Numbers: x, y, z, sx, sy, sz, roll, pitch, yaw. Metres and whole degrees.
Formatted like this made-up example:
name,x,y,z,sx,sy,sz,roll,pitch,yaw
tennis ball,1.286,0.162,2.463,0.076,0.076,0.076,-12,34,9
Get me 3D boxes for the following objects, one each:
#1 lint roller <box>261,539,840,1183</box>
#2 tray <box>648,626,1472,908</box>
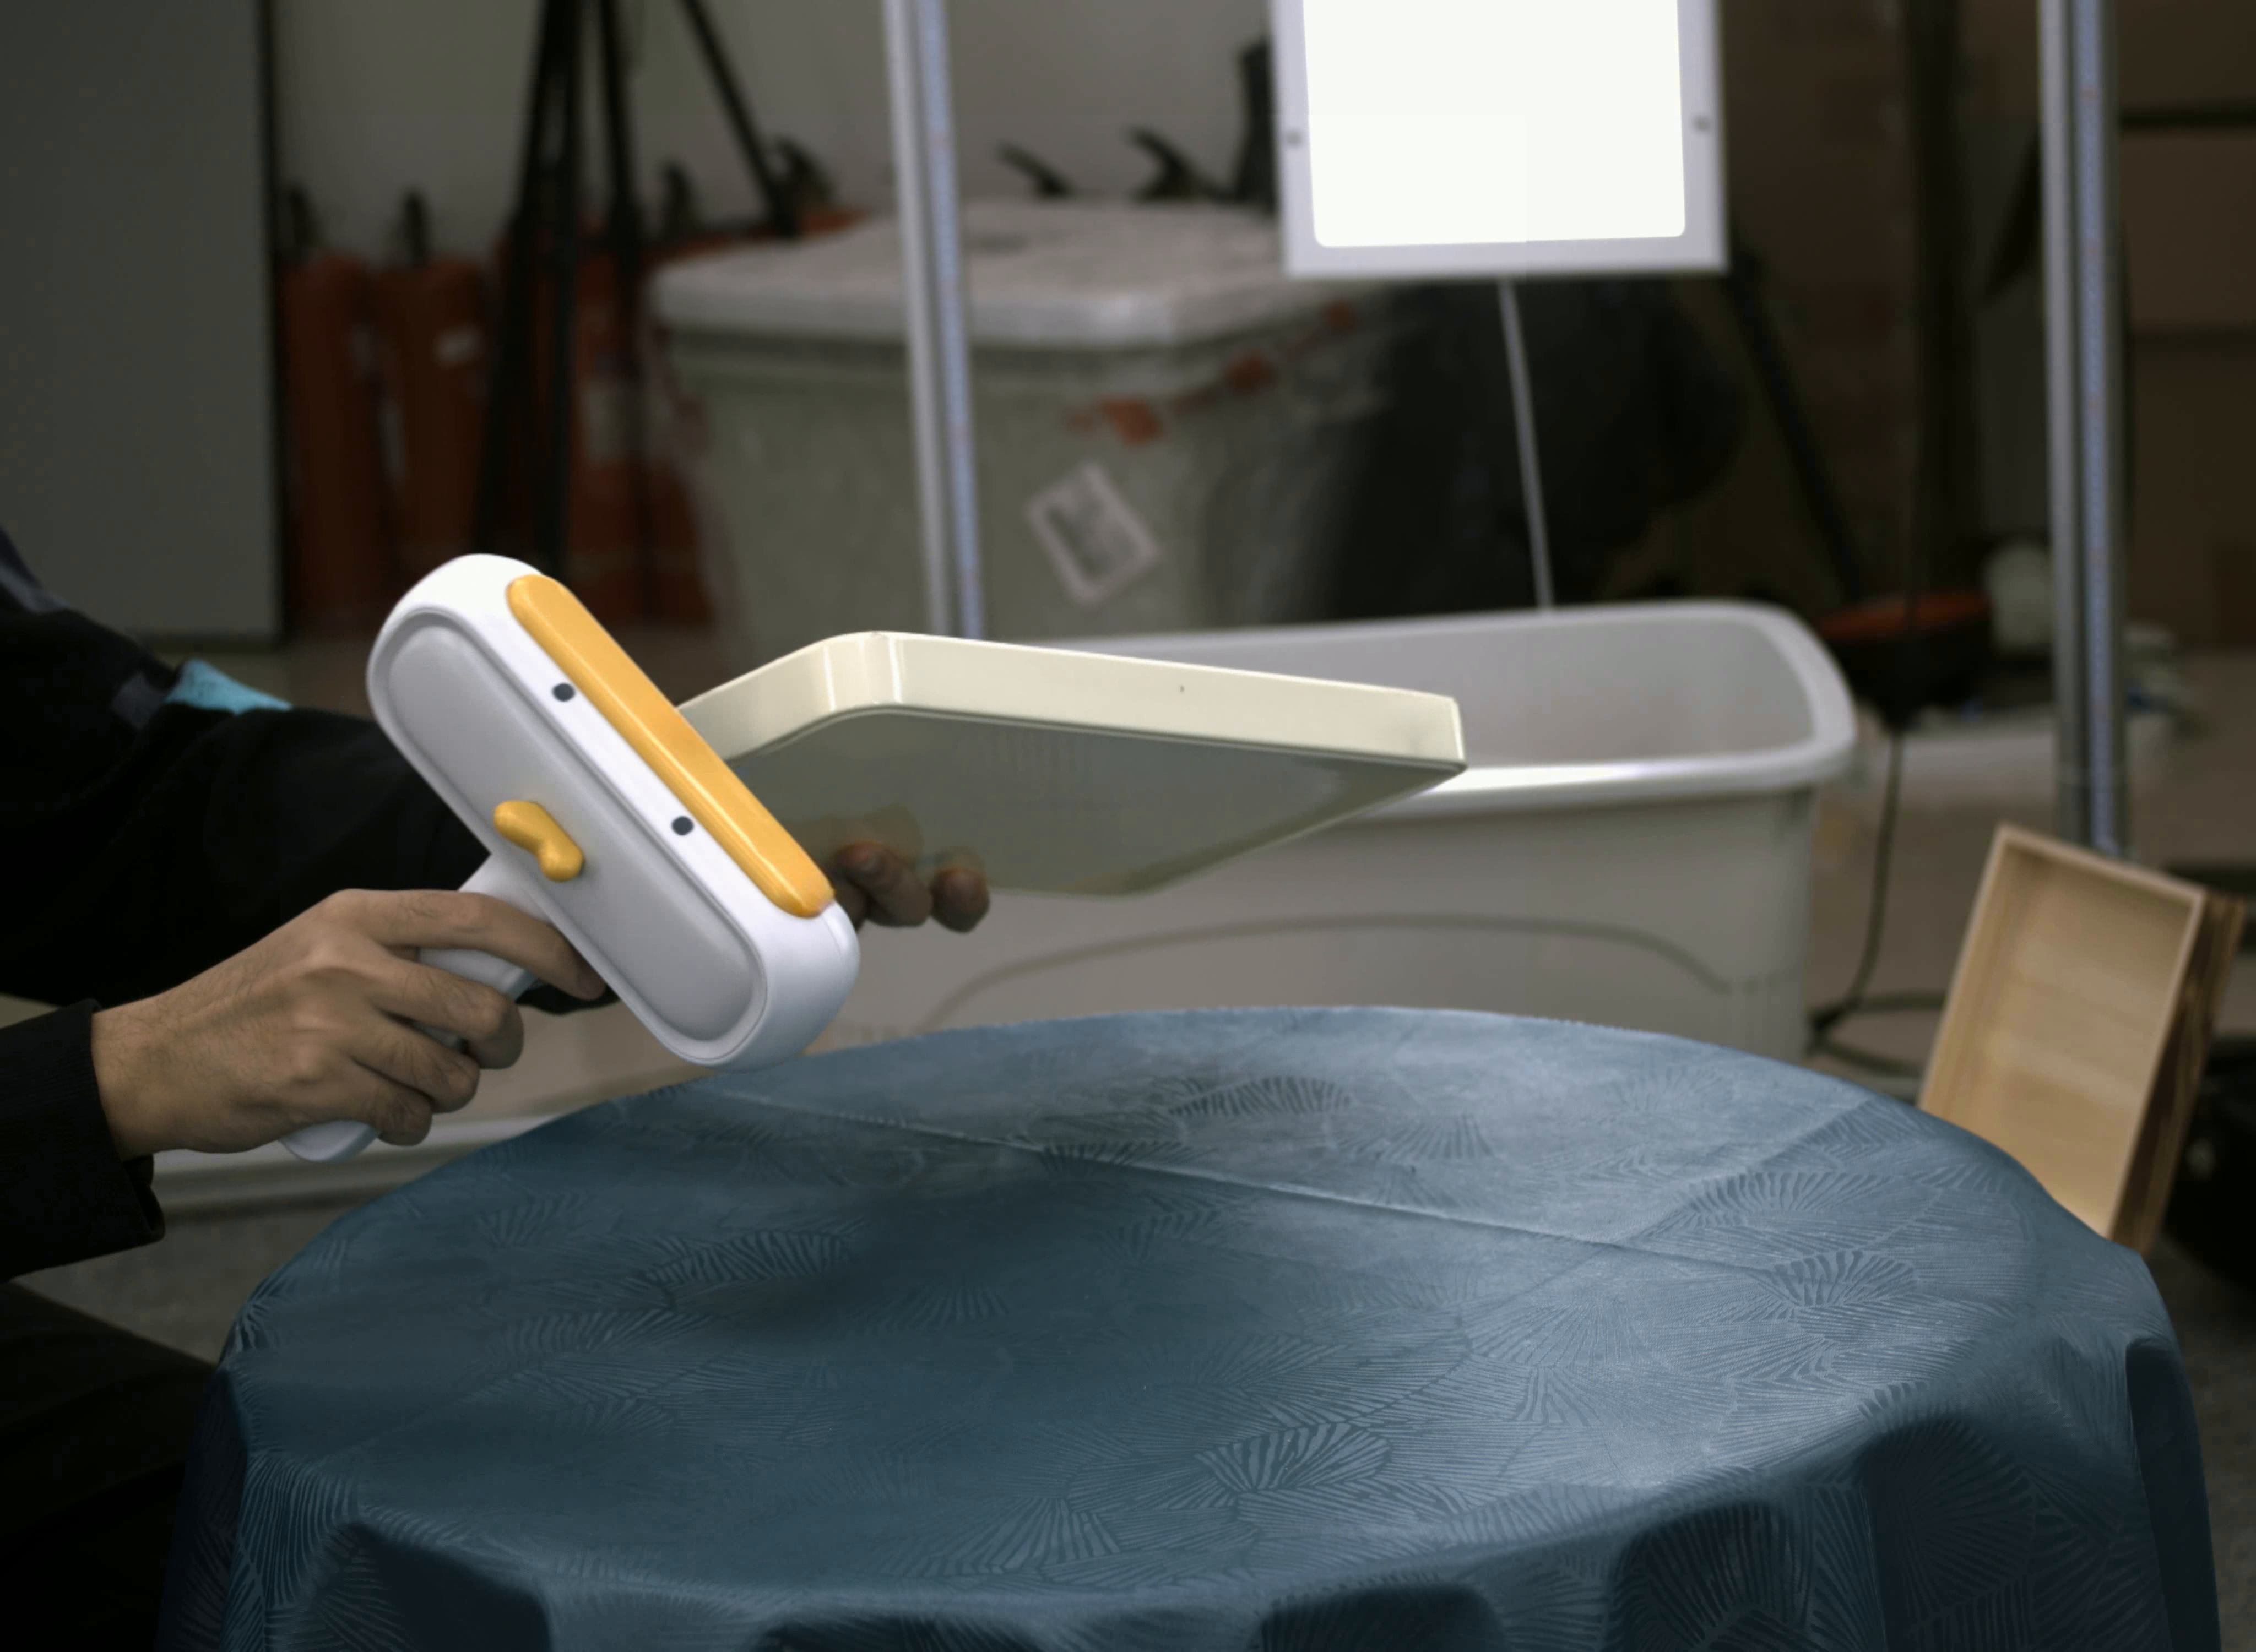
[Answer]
name,x,y,z,sx,sy,sz,roll,pitch,yaw
lint roller,-0.207,0.034,1.755,0.193,0.195,0.073,42,26,8
tray,-0.043,-0.016,1.900,0.293,0.027,0.196,5,-20,-42
